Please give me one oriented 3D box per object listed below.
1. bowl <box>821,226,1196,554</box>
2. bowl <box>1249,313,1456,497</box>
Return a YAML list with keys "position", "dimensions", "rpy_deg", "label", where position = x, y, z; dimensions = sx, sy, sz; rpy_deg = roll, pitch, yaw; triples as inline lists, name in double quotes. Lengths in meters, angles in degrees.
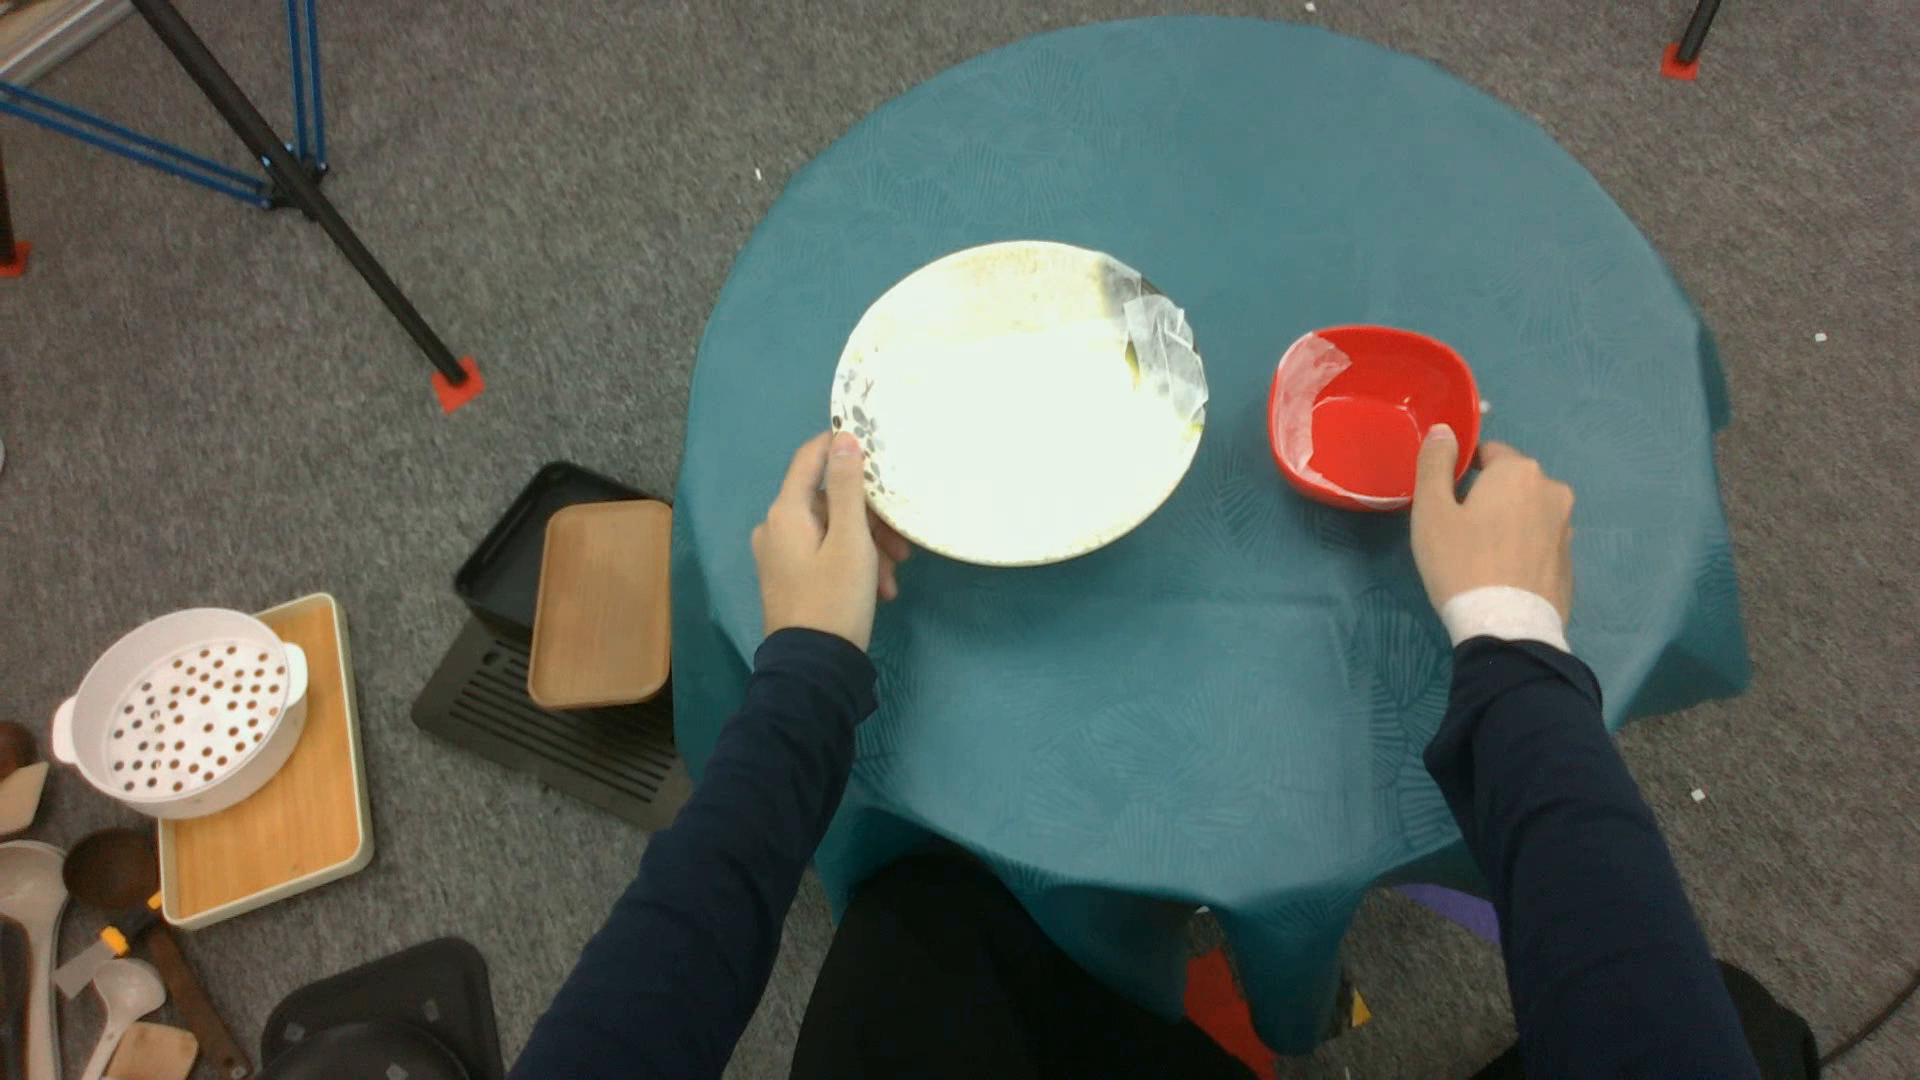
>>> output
- position: [0.029, -0.072, 0.775]
  dimensions: [0.204, 0.078, 0.204]
  rpy_deg: [-3, 66, 7]
  label: "bowl"
- position: [0.214, -0.067, 0.769]
  dimensions: [0.119, 0.051, 0.119]
  rpy_deg: [-1, 63, 2]
  label: "bowl"
